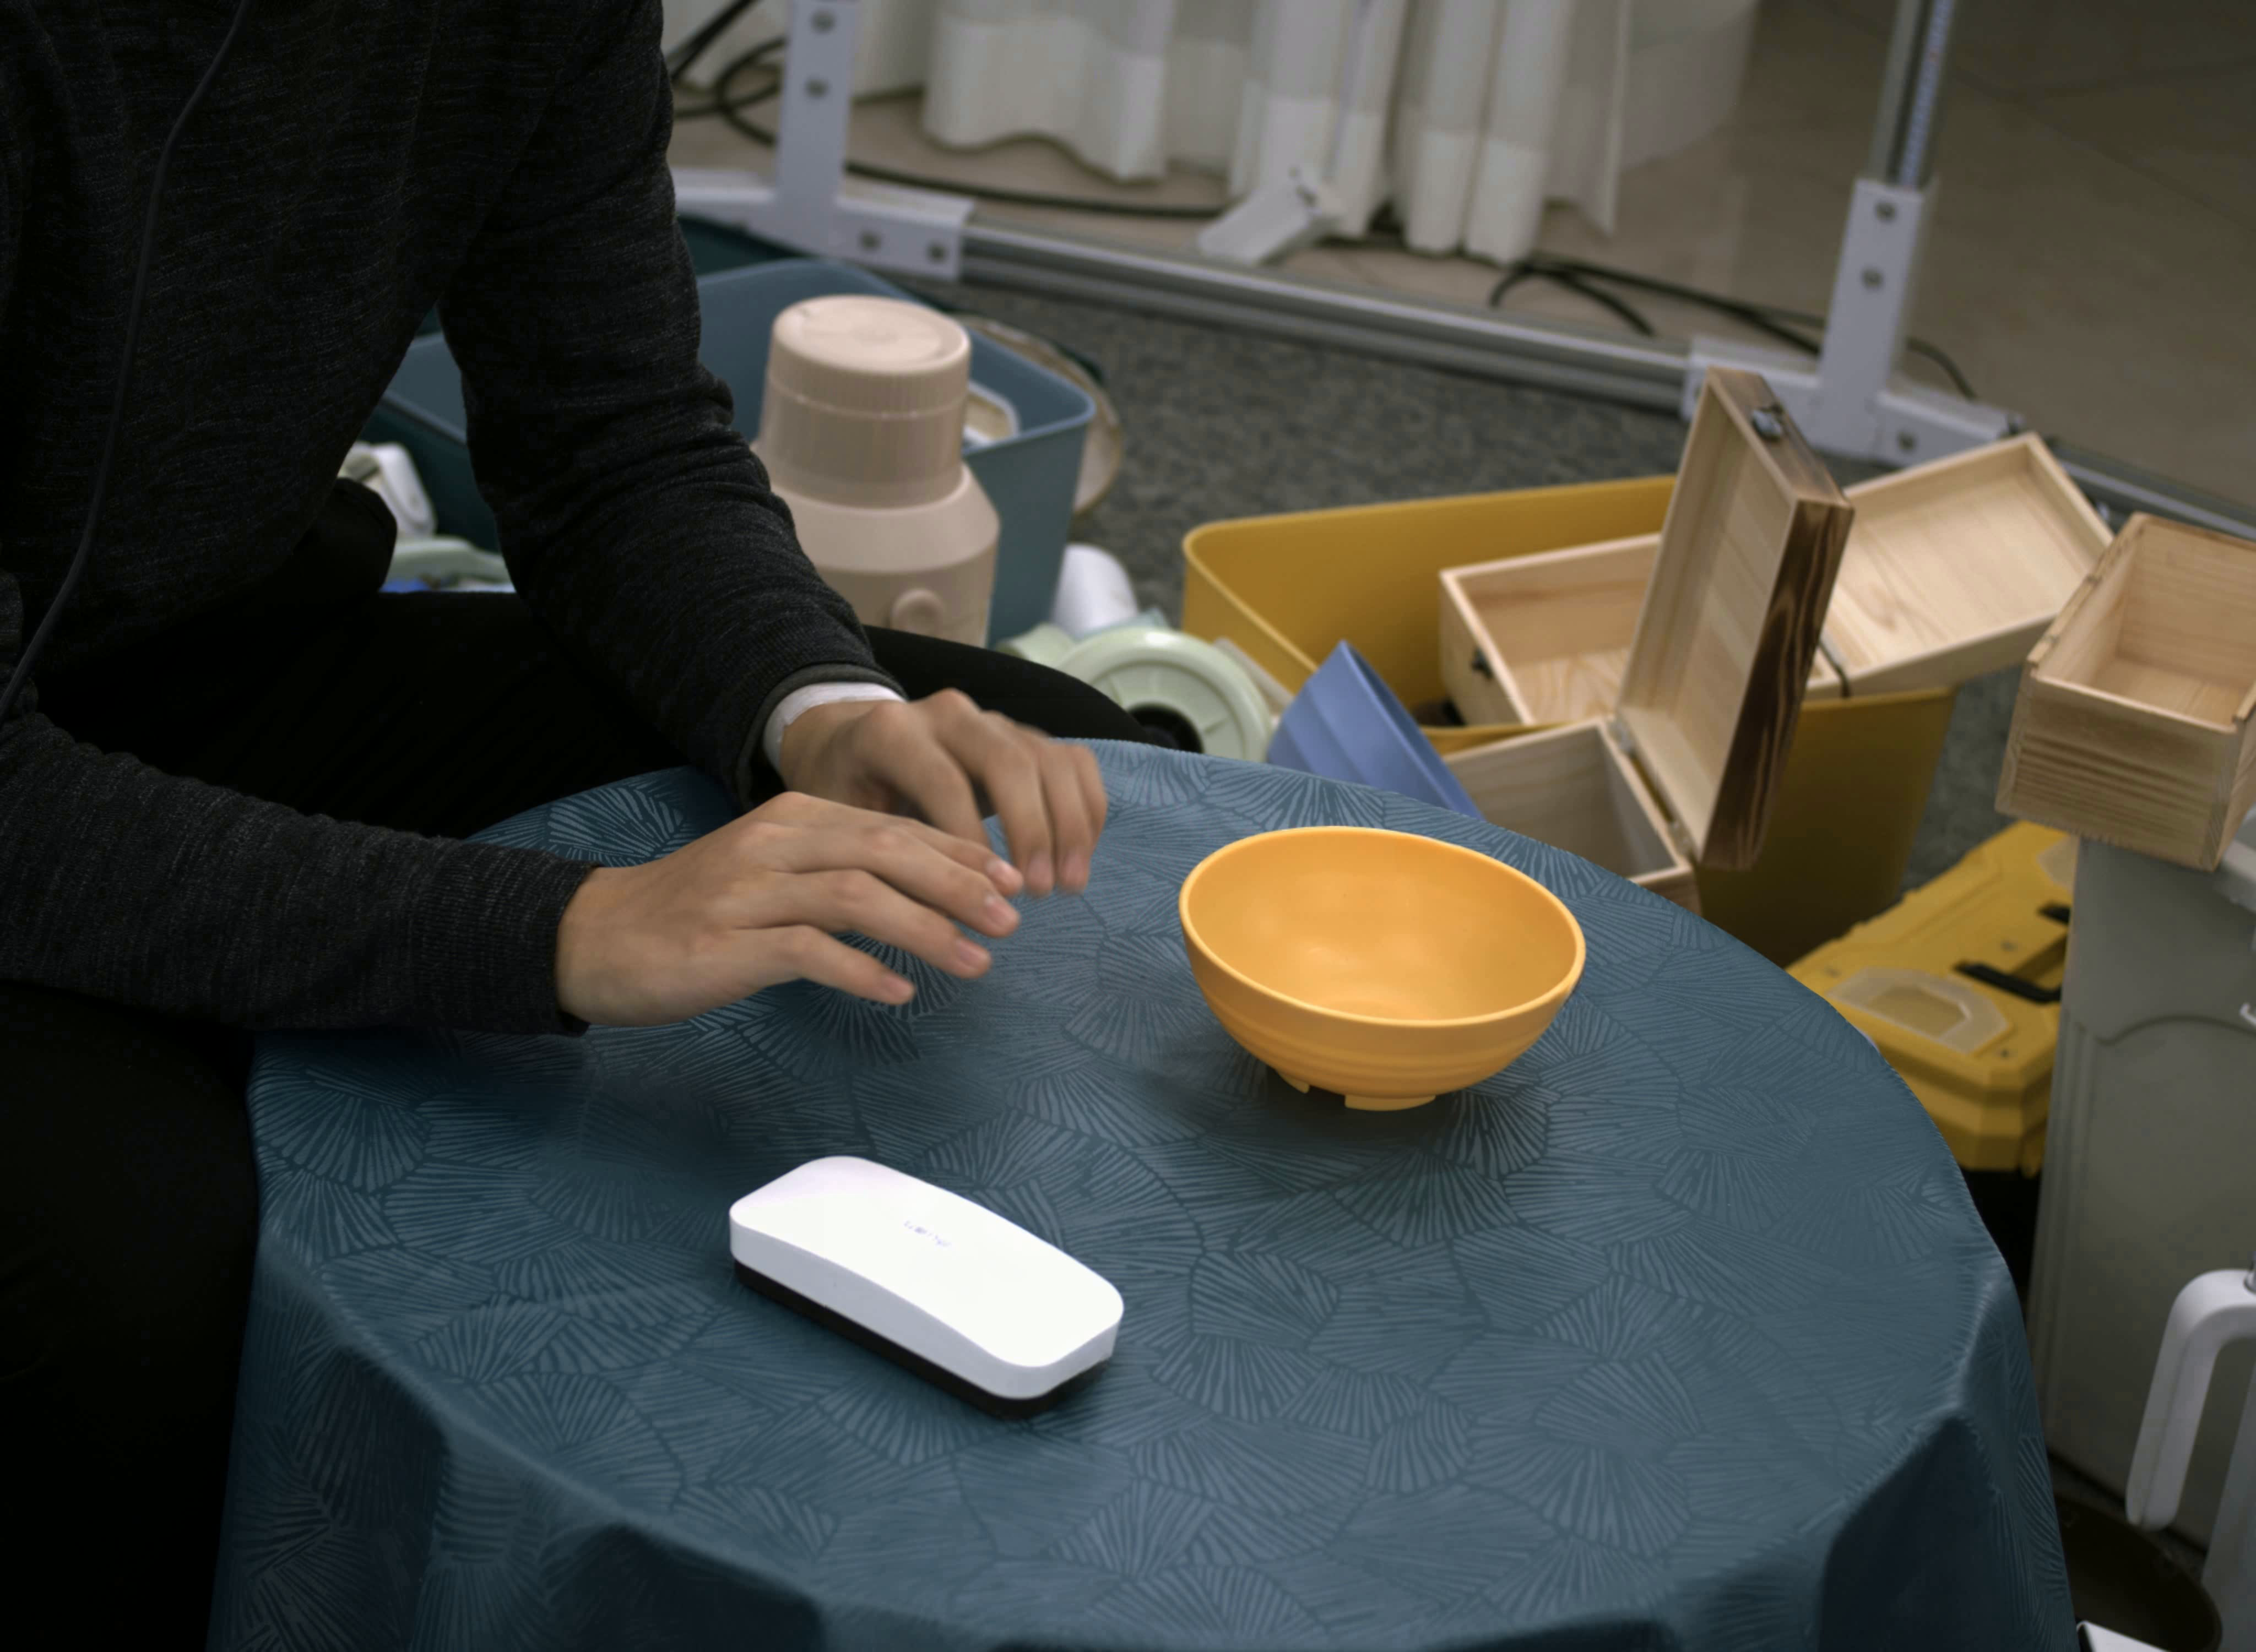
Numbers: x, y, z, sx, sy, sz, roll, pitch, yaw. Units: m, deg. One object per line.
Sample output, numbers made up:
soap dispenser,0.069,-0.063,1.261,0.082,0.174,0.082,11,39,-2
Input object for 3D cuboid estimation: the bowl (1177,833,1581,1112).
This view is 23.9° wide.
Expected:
bowl,0.085,0.060,1.882,0.145,0.060,0.146,6,25,-3

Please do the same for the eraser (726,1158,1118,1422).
eraser,-0.067,0.145,1.710,0.132,0.034,0.063,25,32,31
